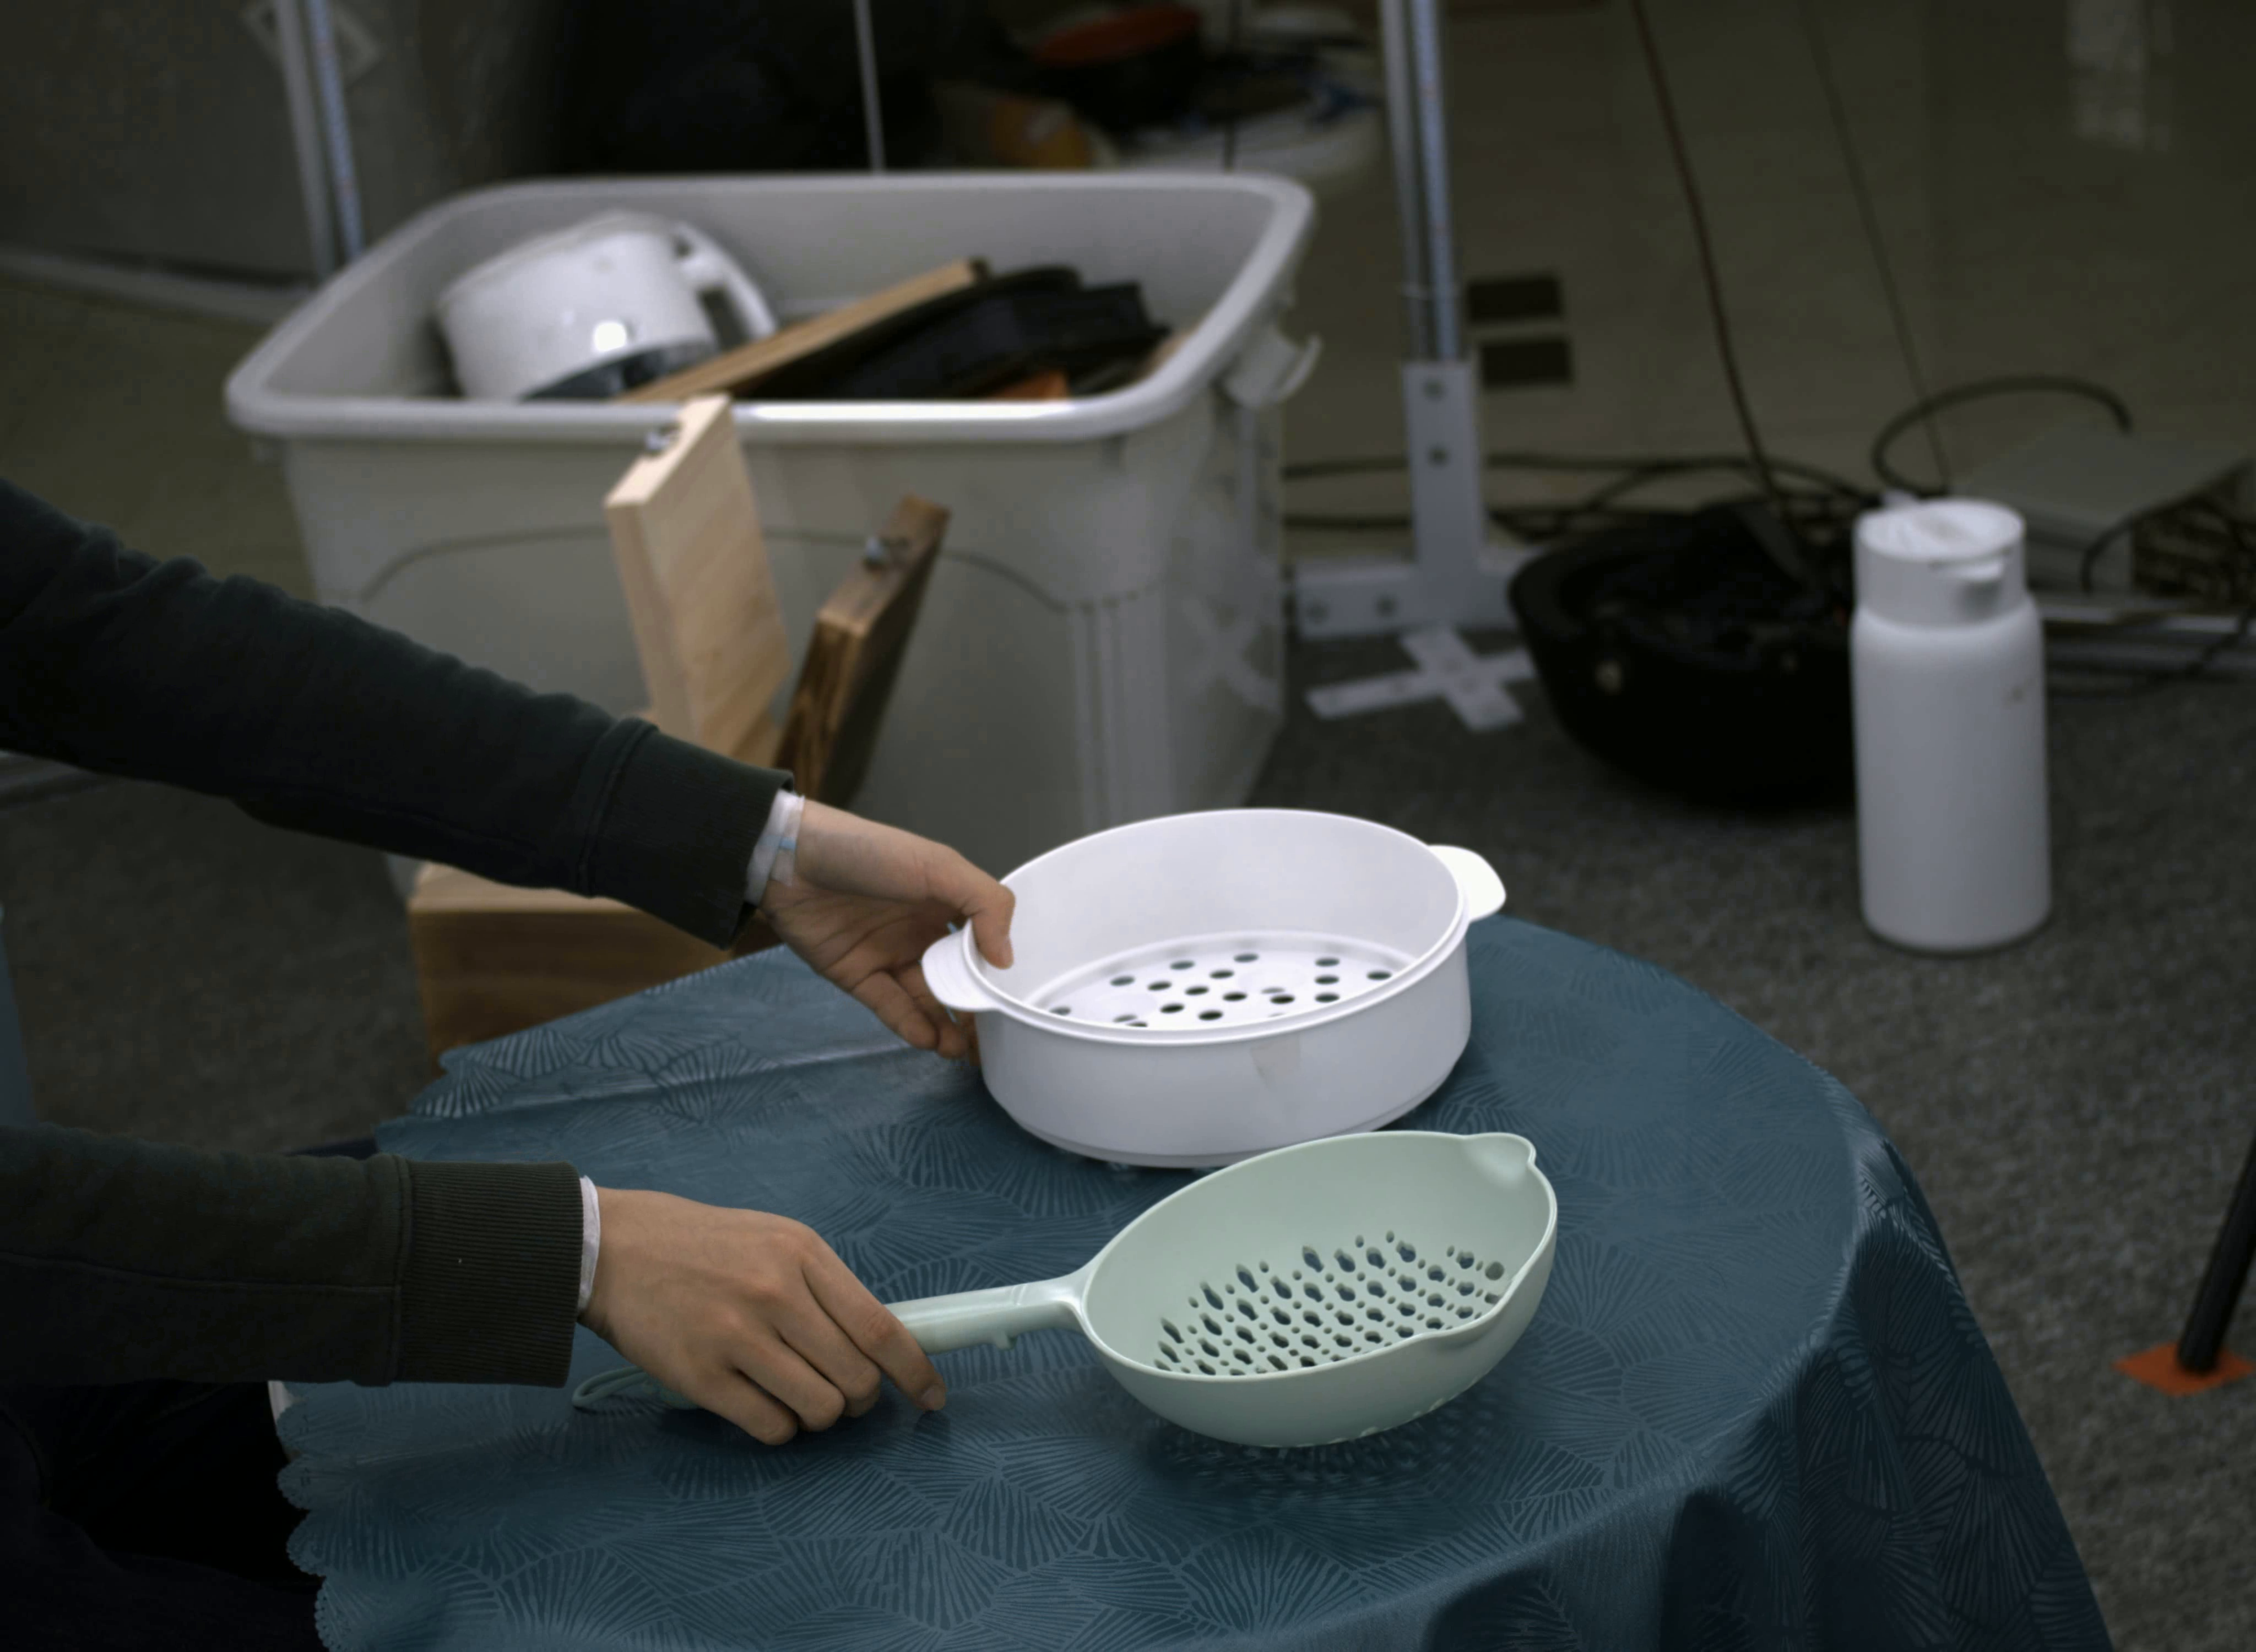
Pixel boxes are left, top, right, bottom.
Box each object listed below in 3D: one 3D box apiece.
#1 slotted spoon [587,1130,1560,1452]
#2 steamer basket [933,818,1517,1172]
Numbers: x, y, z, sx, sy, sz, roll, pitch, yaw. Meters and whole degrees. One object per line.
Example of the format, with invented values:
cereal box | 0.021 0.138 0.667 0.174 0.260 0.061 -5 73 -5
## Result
slotted spoon | -0.024 0.174 2.005 0.358 0.076 0.167 -1 25 11
steamer basket | 0.041 0.067 2.222 0.230 0.070 0.199 -11 24 -9
